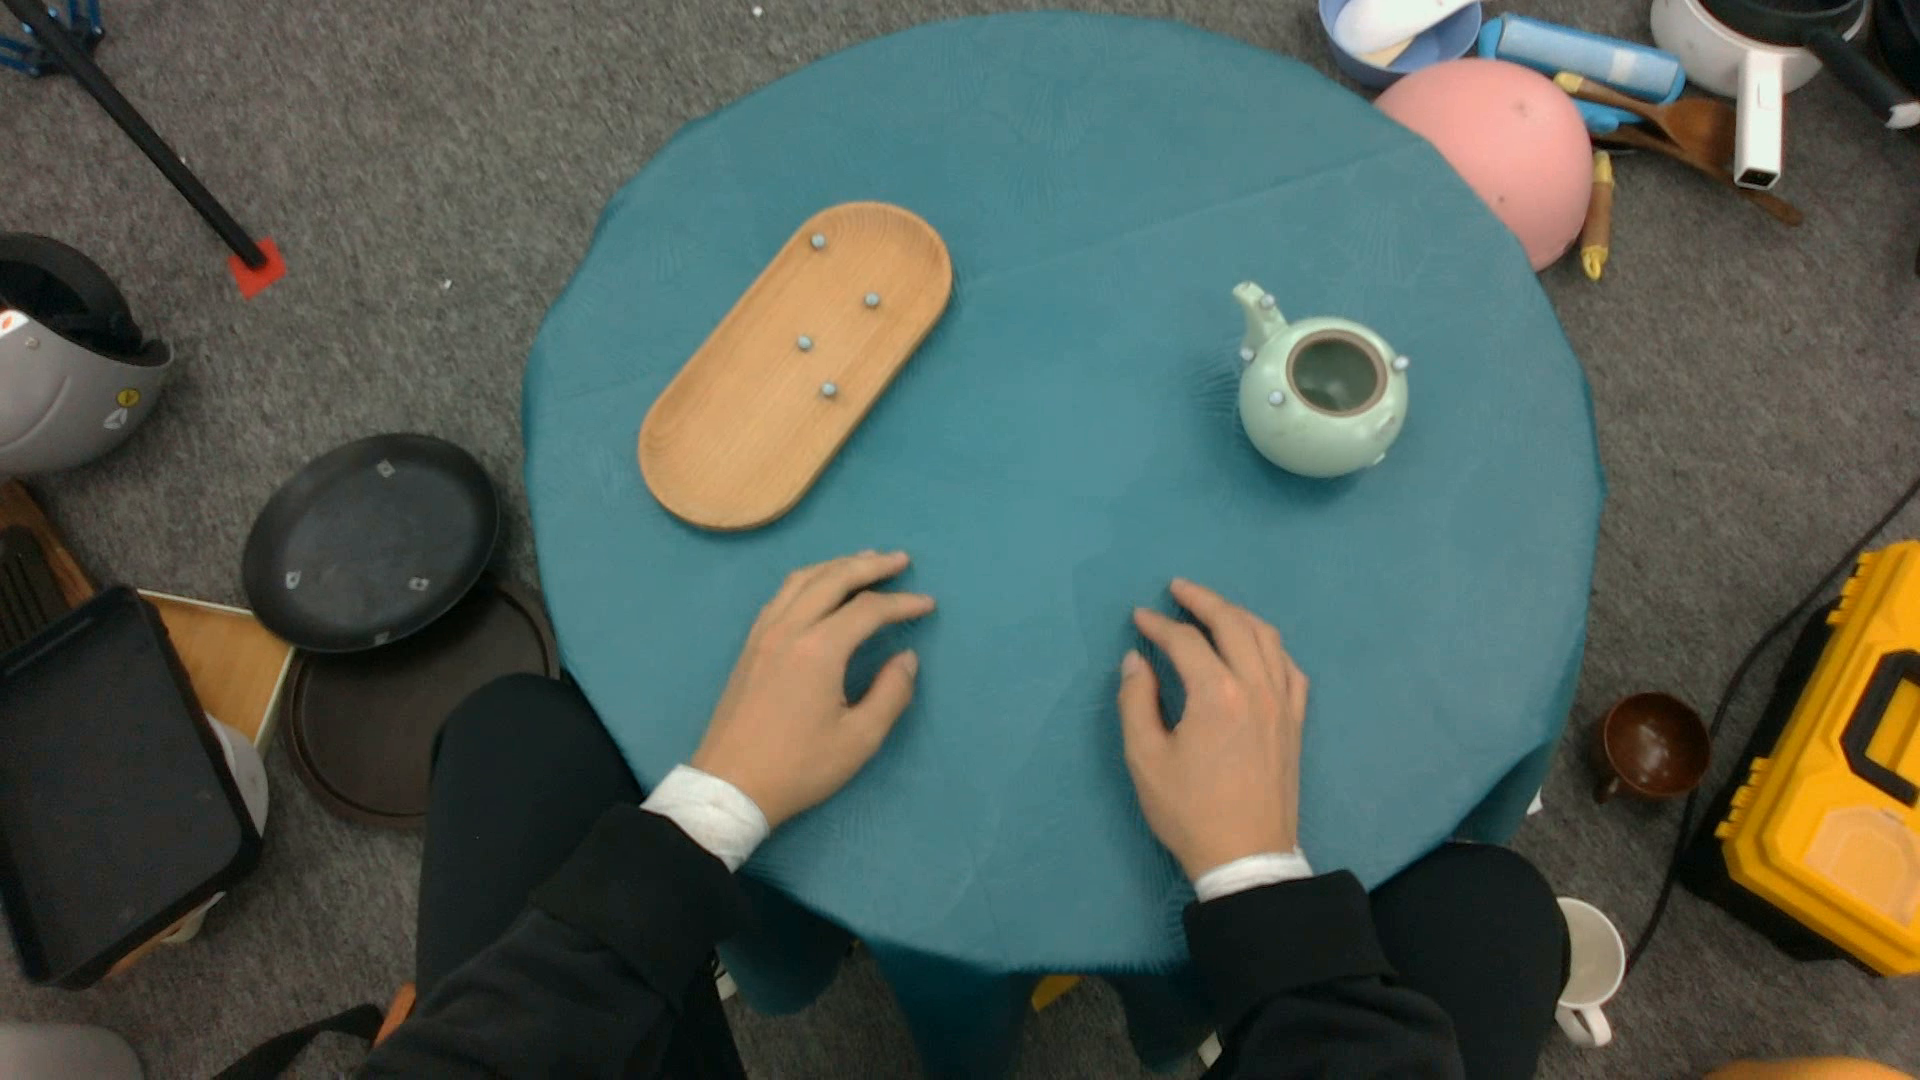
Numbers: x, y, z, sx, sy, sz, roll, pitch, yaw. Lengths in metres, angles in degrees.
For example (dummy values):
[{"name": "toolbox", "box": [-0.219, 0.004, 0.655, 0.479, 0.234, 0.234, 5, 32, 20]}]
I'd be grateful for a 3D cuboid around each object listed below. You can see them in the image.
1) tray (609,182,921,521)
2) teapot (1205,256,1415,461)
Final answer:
[{"name": "tray", "box": [-0.107, -0.110, 0.779, 0.101, 0.020, 0.232, 30, 73, 11]}, {"name": "teapot", "box": [0.182, -0.091, 0.747, 0.088, 0.074, 0.144, -40, 73, -14]}]
